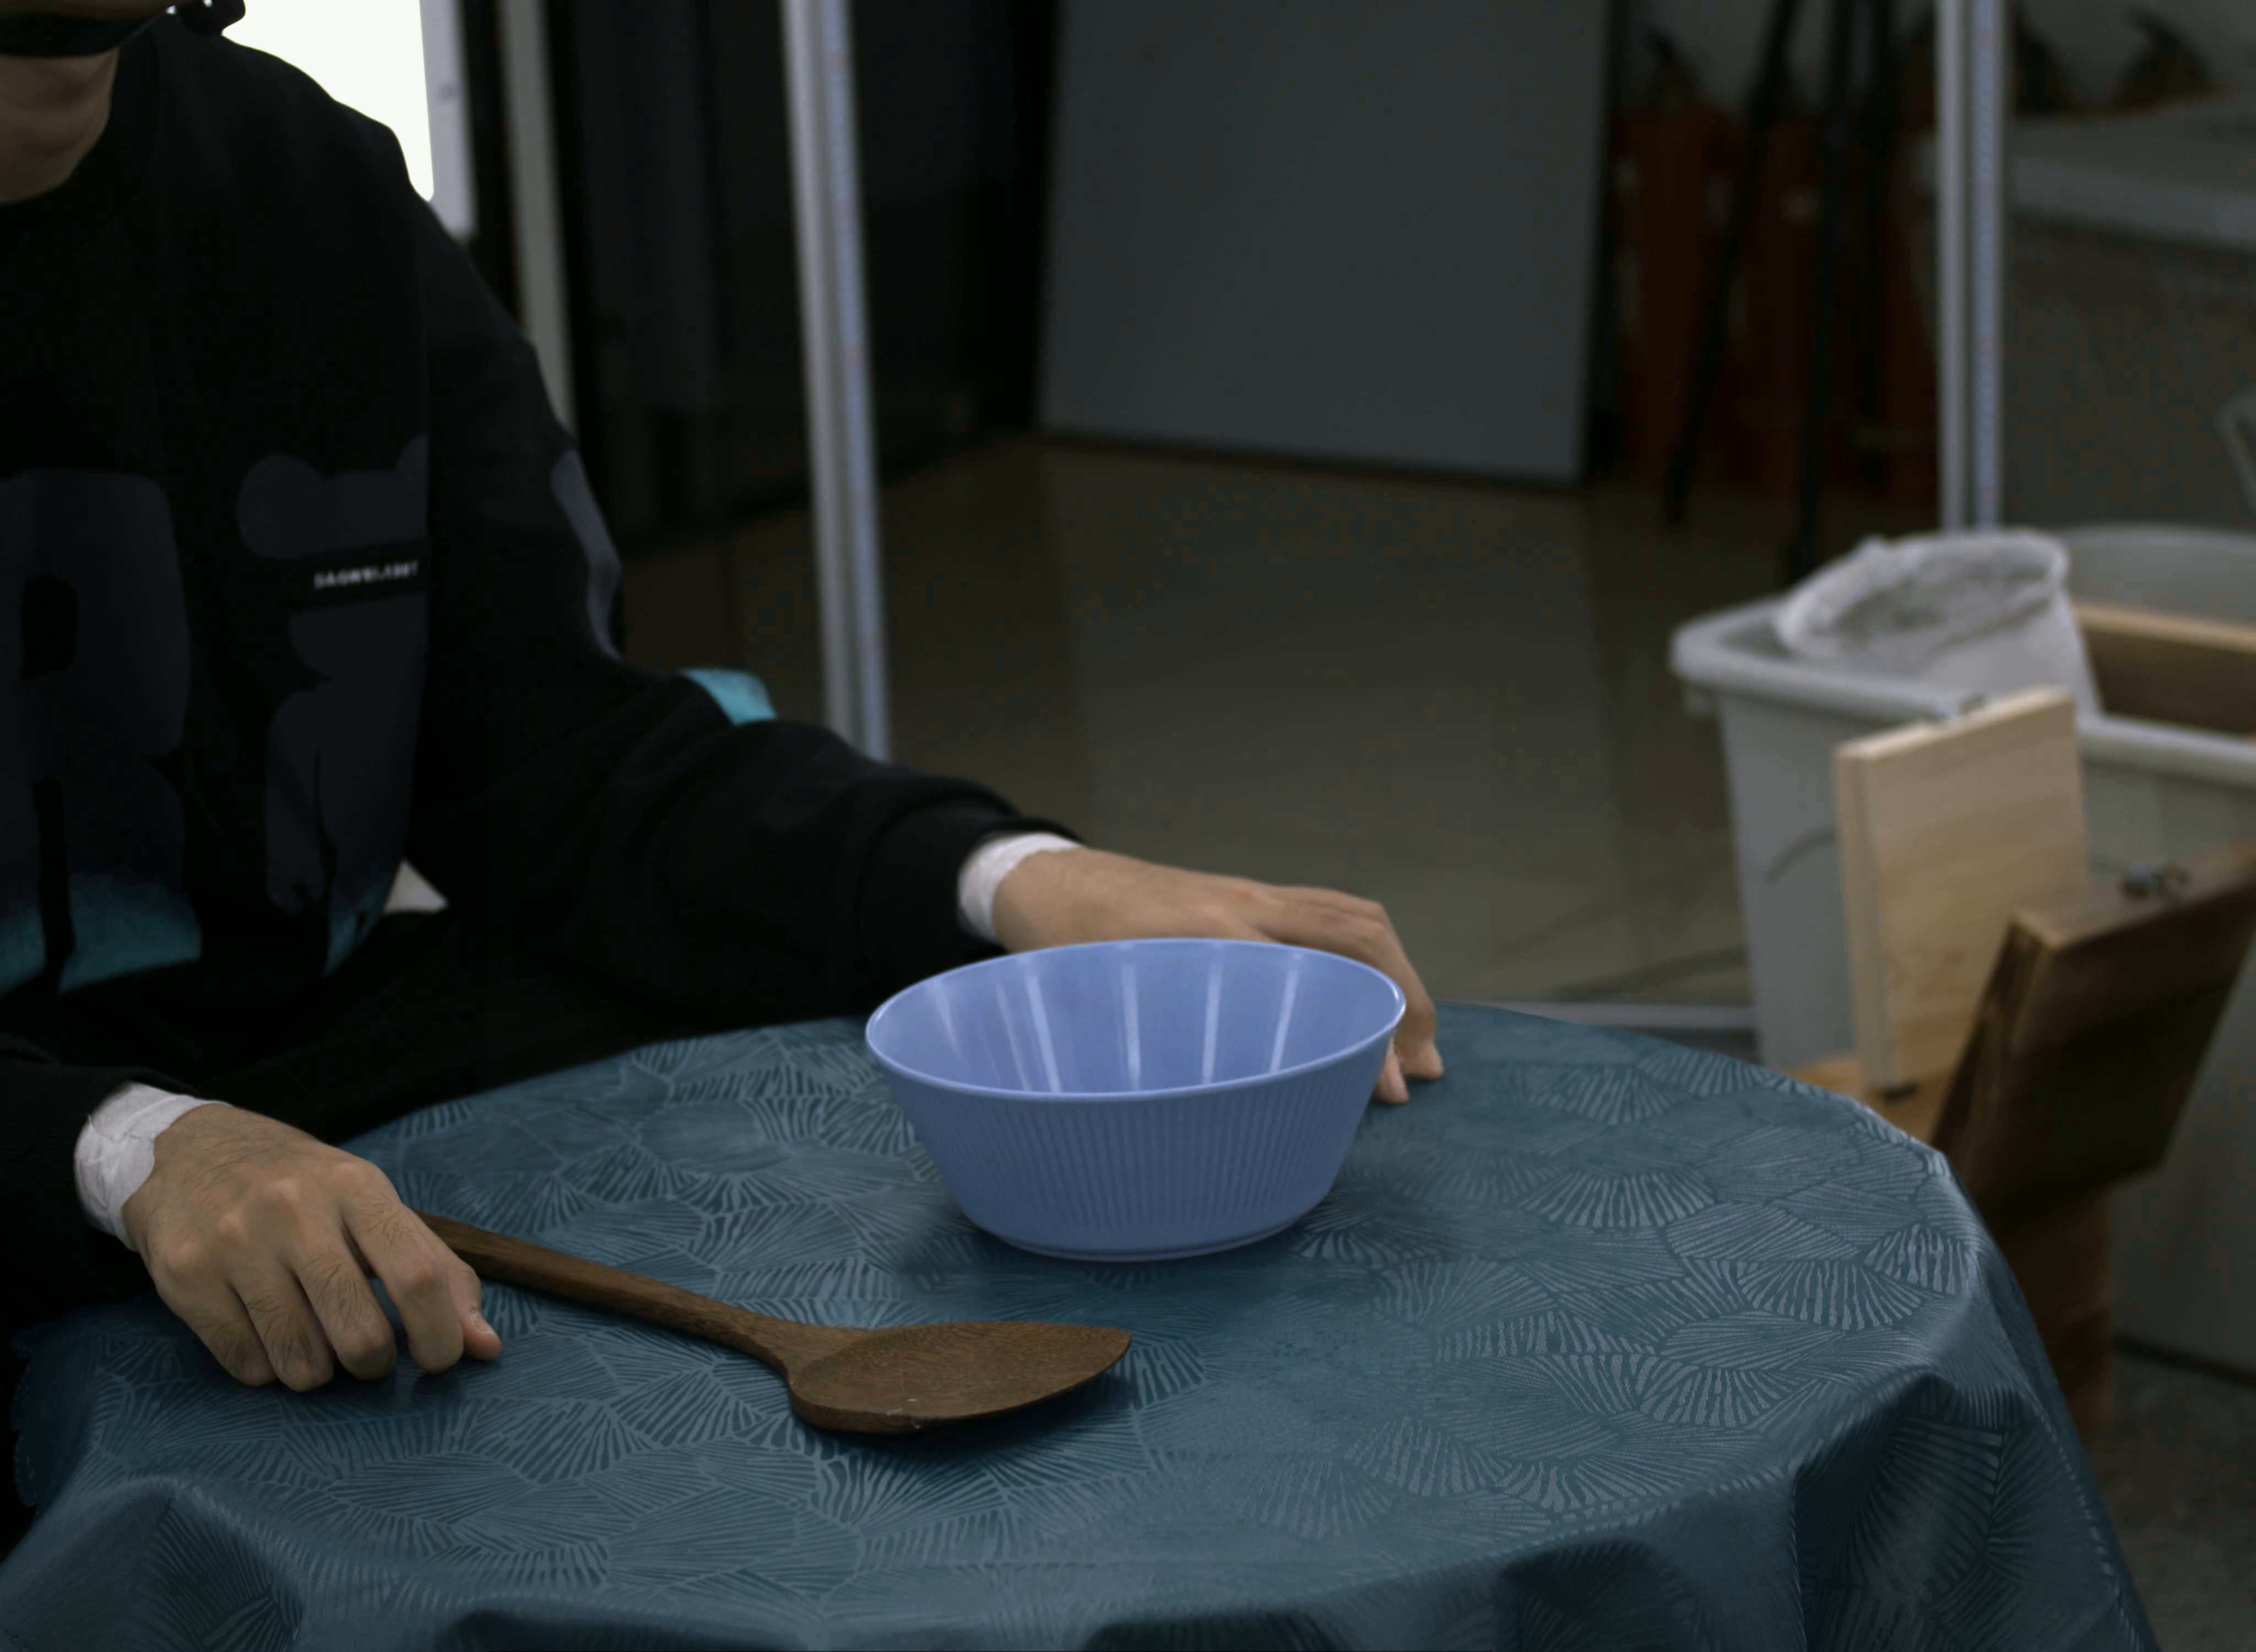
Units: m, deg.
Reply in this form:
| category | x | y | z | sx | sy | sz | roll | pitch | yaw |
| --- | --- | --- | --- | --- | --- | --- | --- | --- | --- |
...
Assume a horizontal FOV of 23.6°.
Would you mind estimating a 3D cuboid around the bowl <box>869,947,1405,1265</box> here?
| category | x | y | z | sx | sy | sz | roll | pitch | yaw |
| --- | --- | --- | --- | --- | --- | --- | --- | --- | --- |
| bowl | 0.005 | 0.092 | 1.741 | 0.174 | 0.071 | 0.176 | -5 | 12 | 0 |

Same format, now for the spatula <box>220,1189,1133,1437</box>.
| category | x | y | z | sx | sy | sz | roll | pitch | yaw |
| --- | --- | --- | --- | --- | --- | --- | --- | --- | --- |
| spatula | -0.159 | 0.147 | 1.687 | 0.389 | 0.016 | 0.094 | 9 | 18 | 43 |
